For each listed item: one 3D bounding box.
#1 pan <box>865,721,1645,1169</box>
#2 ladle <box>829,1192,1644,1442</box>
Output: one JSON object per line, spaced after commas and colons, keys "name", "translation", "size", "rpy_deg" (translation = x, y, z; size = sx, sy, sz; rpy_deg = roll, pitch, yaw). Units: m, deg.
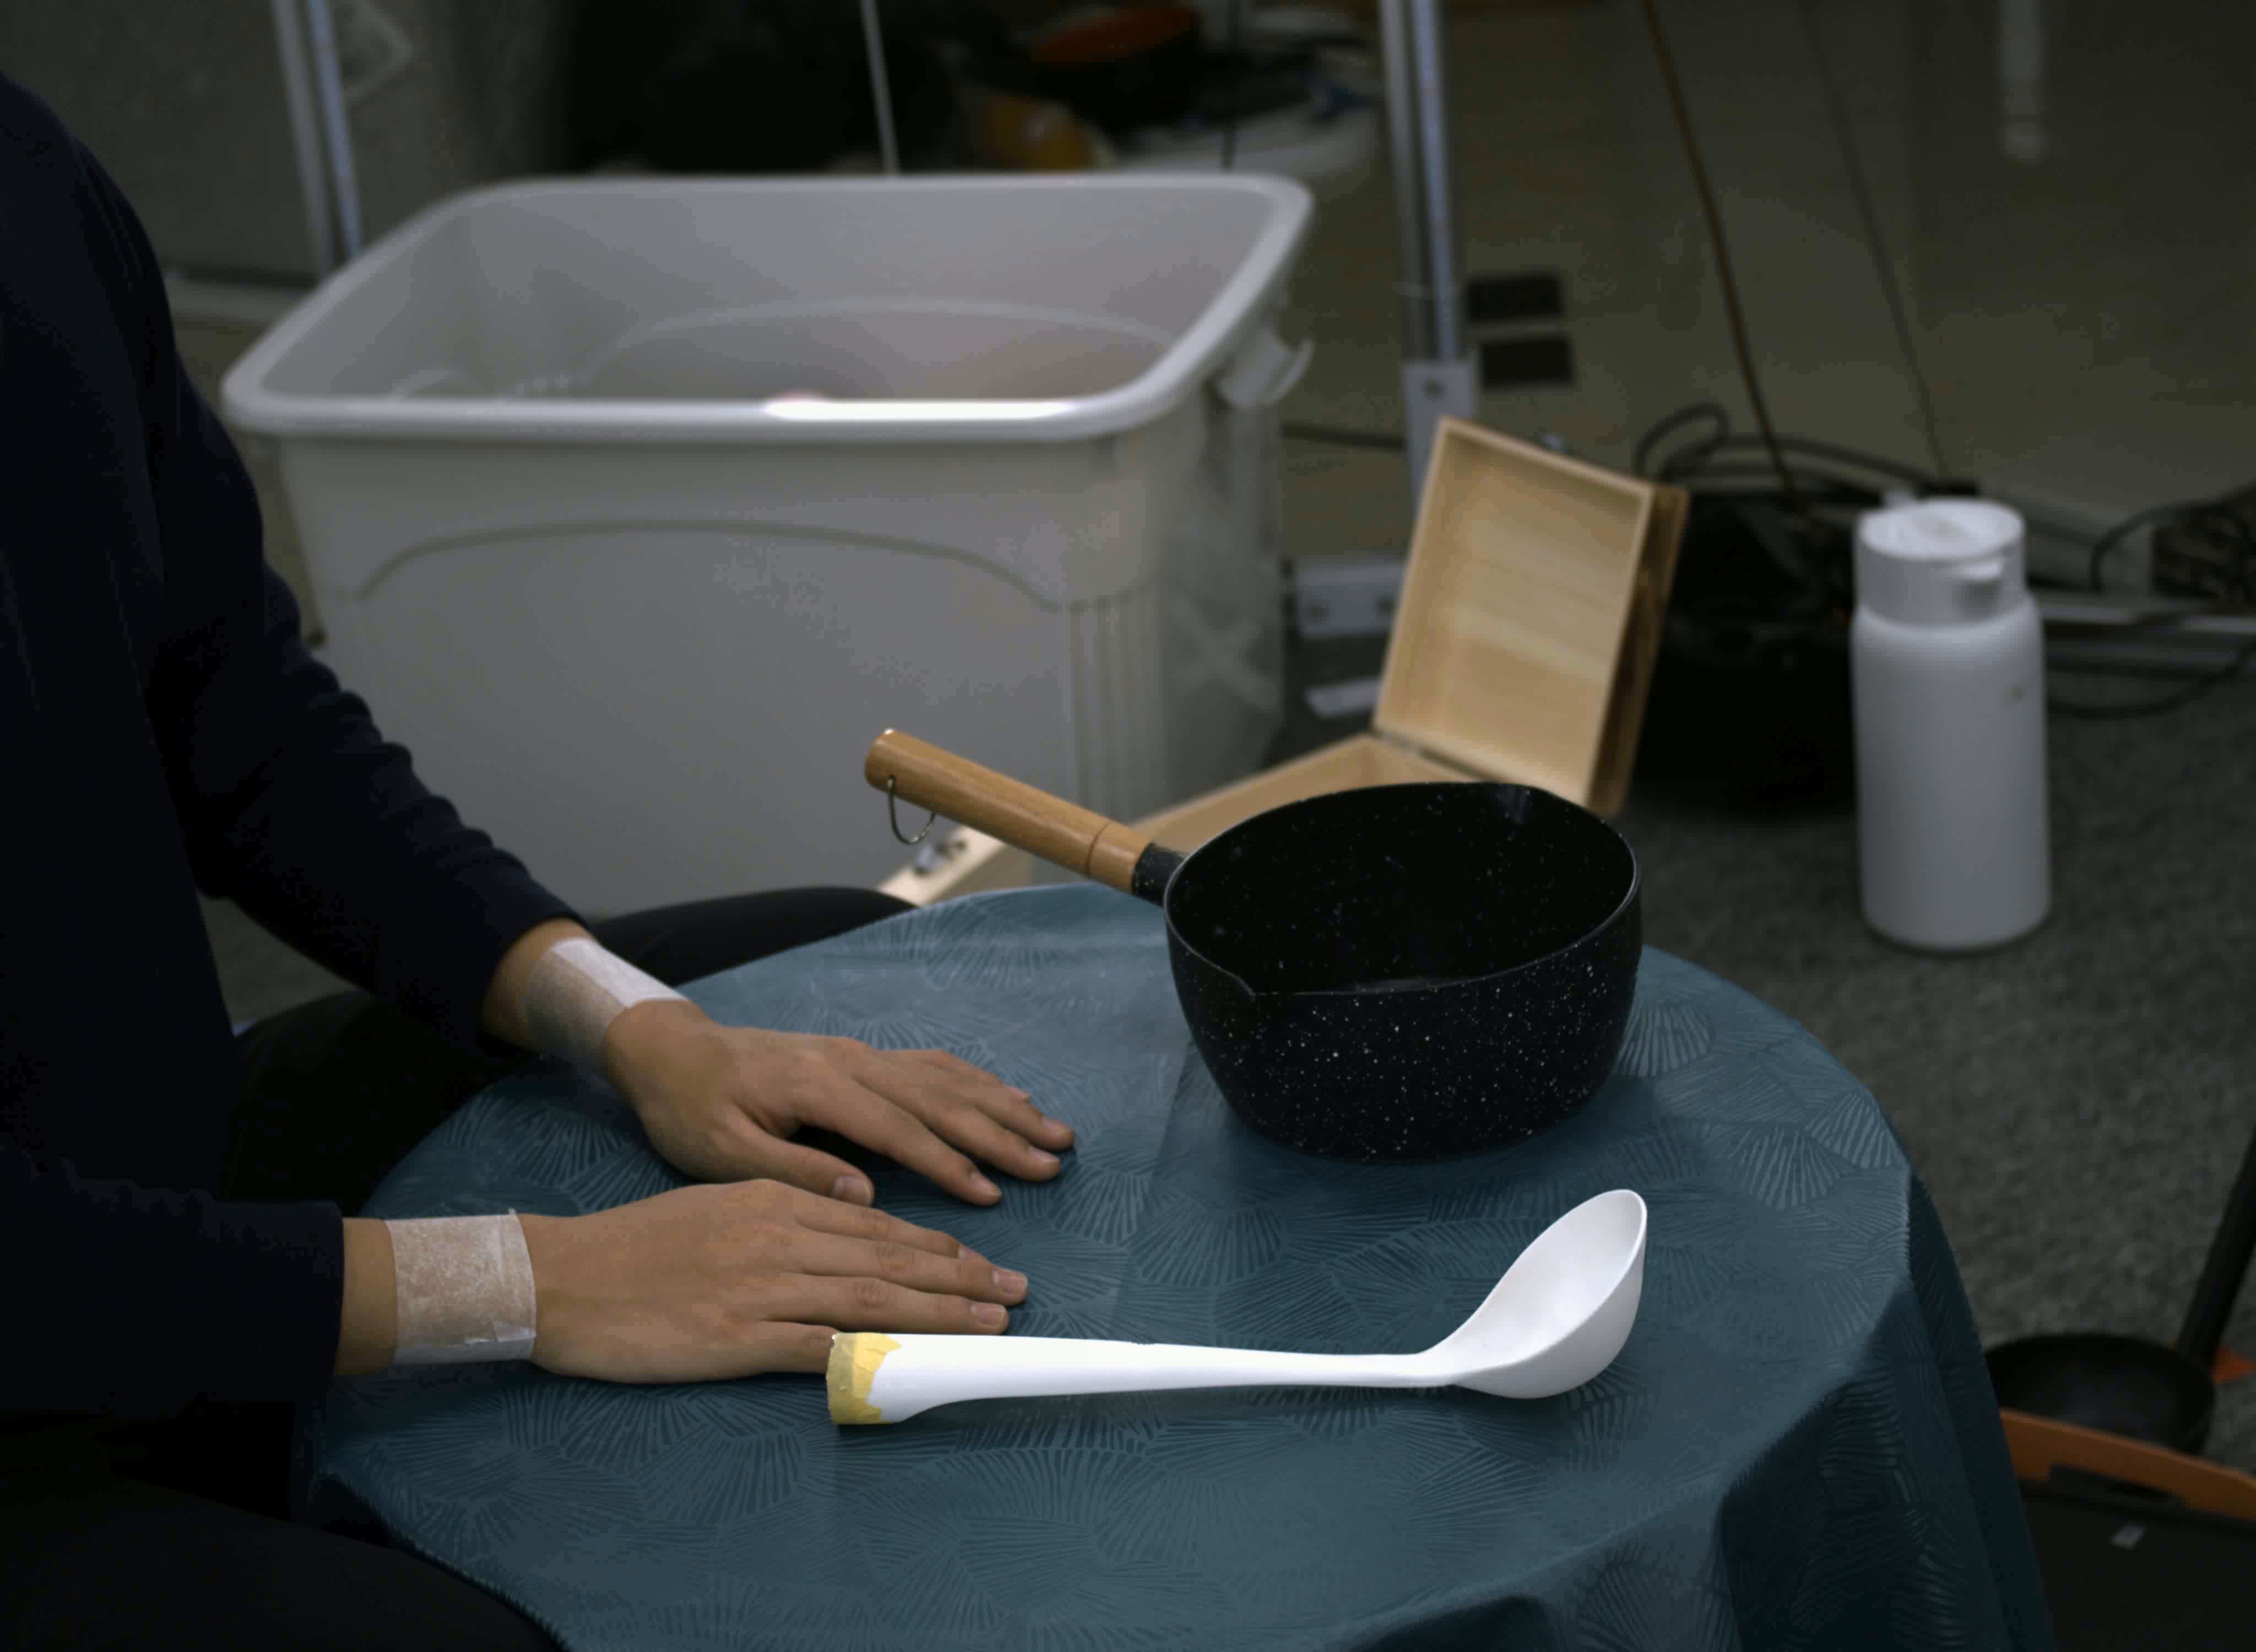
{"name": "pan", "translation": [0.041, 0.037, 2.225], "size": [0.341, 0.110, 0.205], "rpy_deg": [11, 32, 30]}
{"name": "ladle", "translation": [0.037, 0.177, 1.981], "size": [0.292, 0.071, 0.088], "rpy_deg": [-4, 32, 8]}
